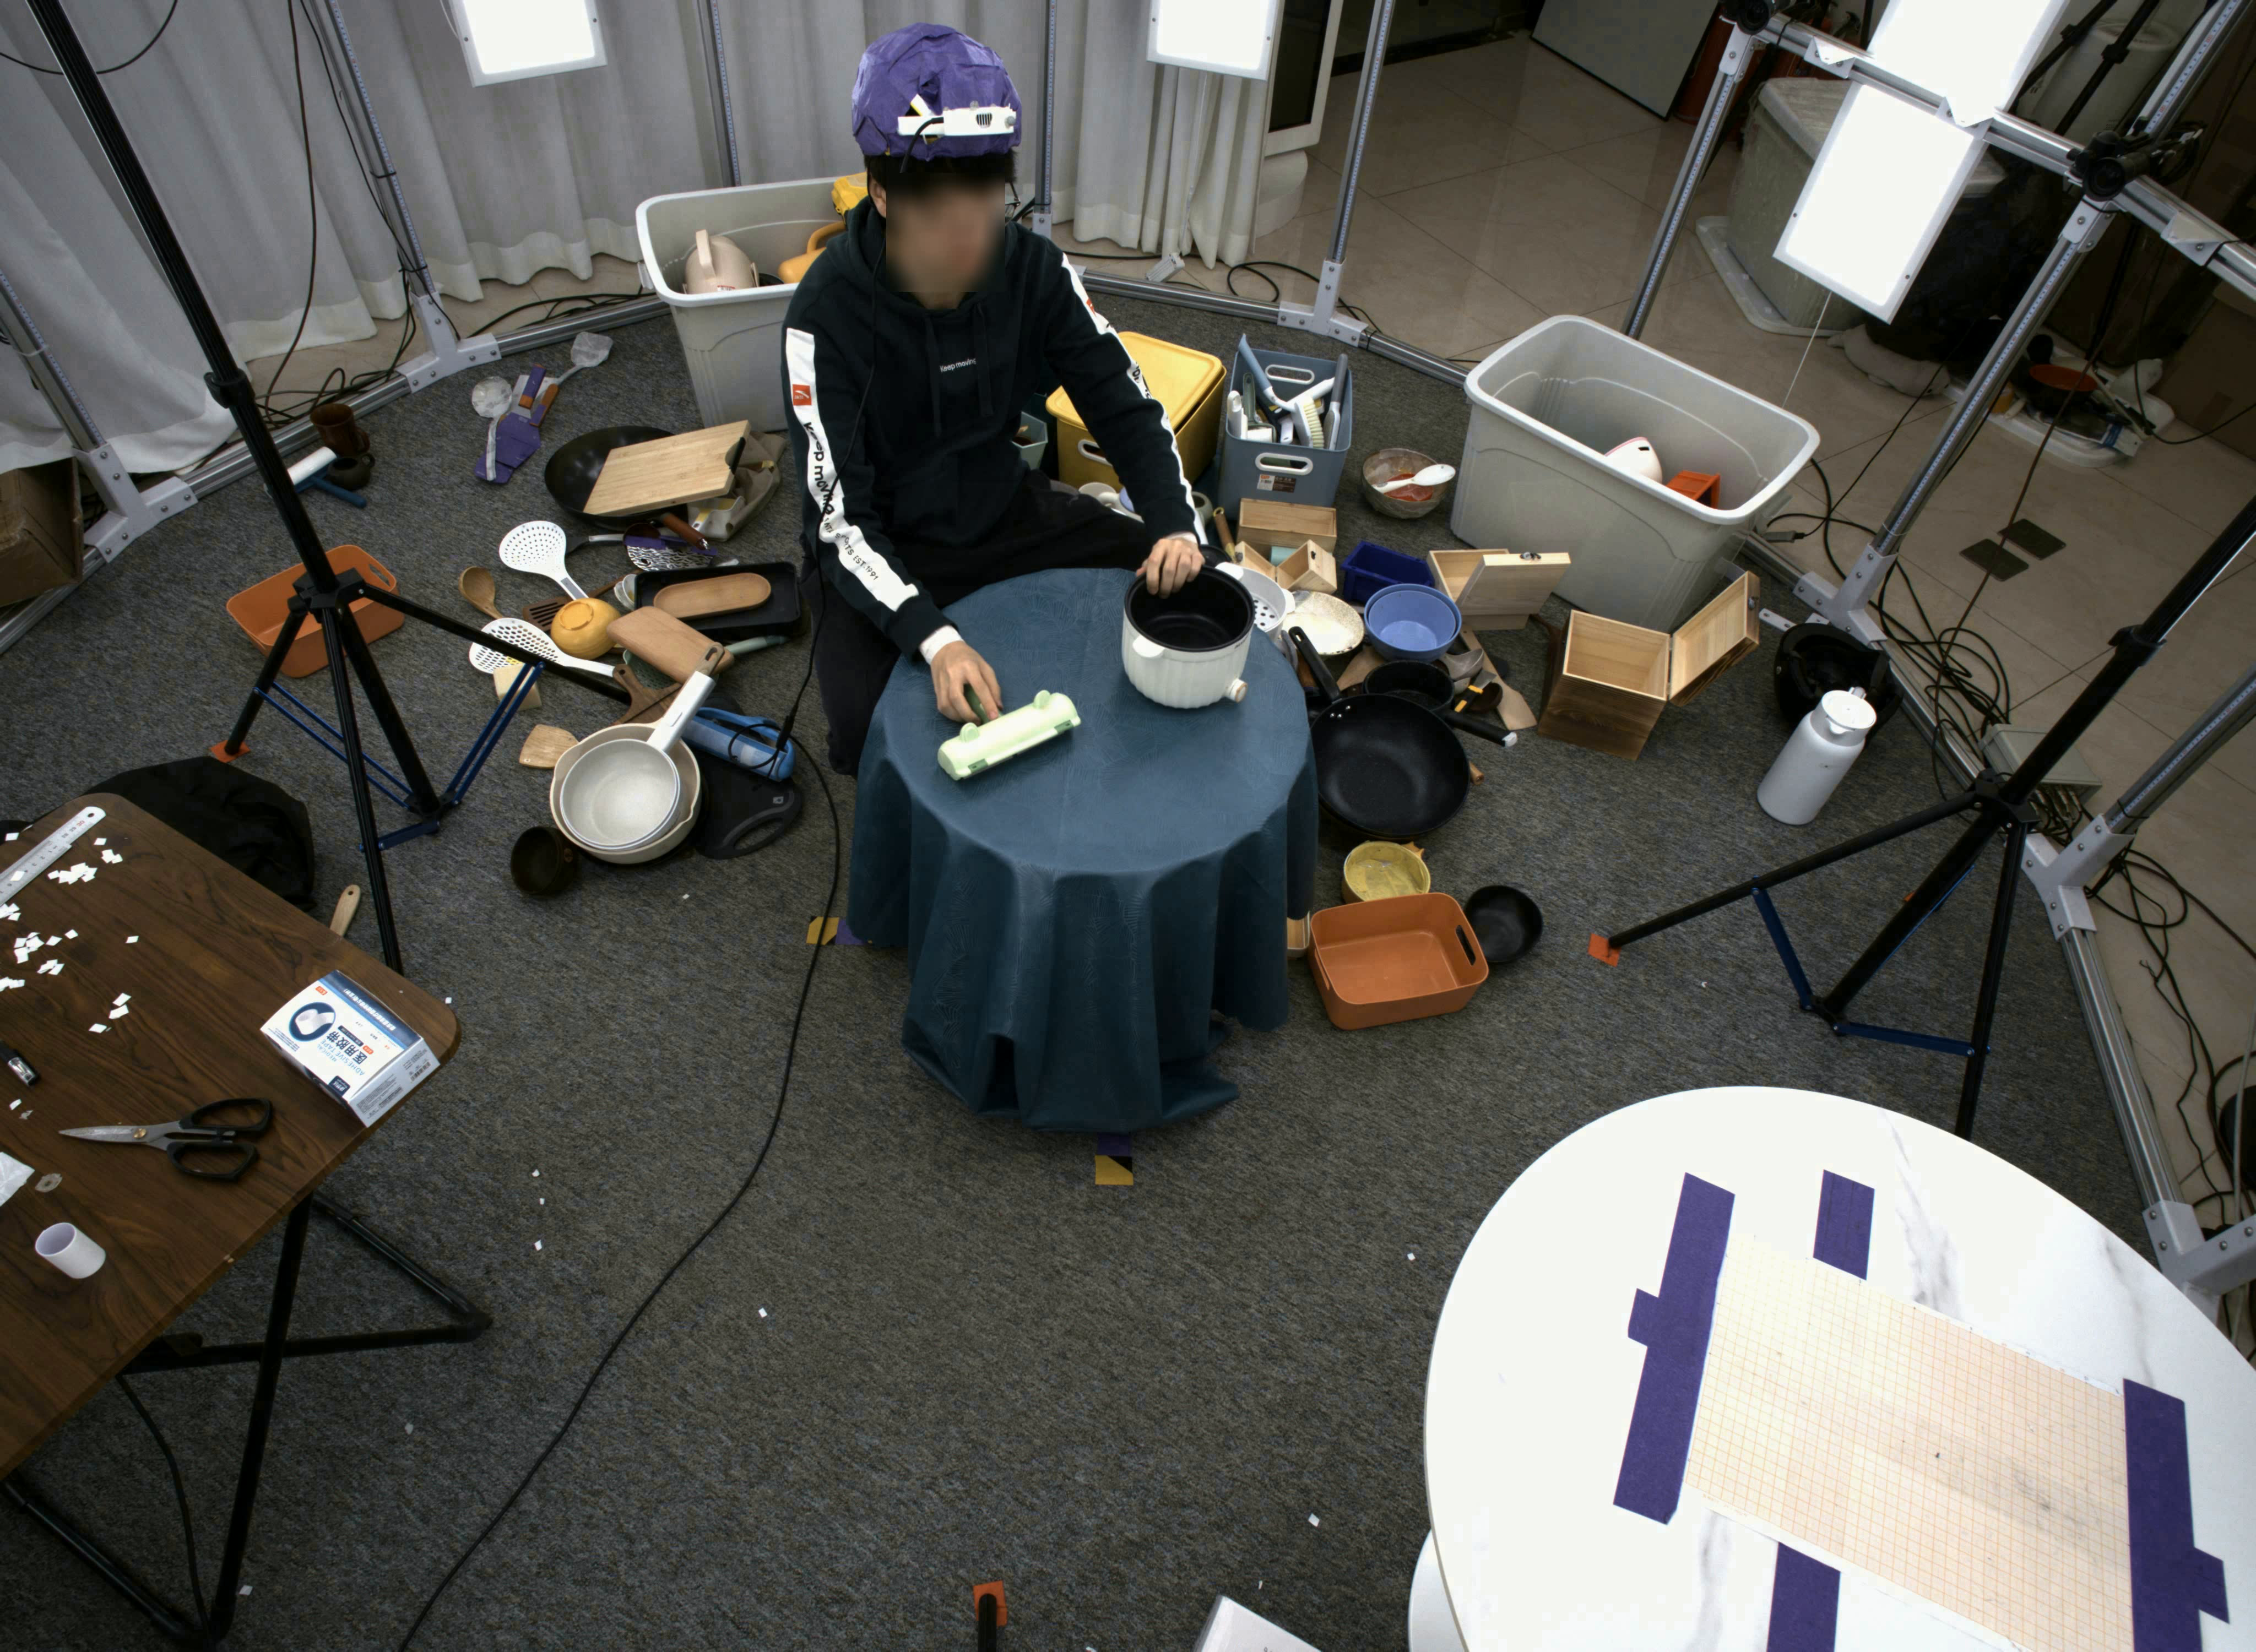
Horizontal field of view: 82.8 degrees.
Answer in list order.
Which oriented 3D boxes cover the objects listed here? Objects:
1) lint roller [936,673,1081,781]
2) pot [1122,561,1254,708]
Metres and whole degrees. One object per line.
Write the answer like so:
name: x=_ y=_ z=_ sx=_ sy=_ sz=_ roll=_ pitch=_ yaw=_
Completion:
lint roller: x=-0.191 y=-0.165 z=1.750 sx=0.199 sy=0.080 sz=0.186 roll=-26 pitch=61 yaw=-24
pot: x=0.086 y=-0.260 z=1.810 sx=0.192 sy=0.139 sz=0.243 roll=28 pitch=54 yaw=23
